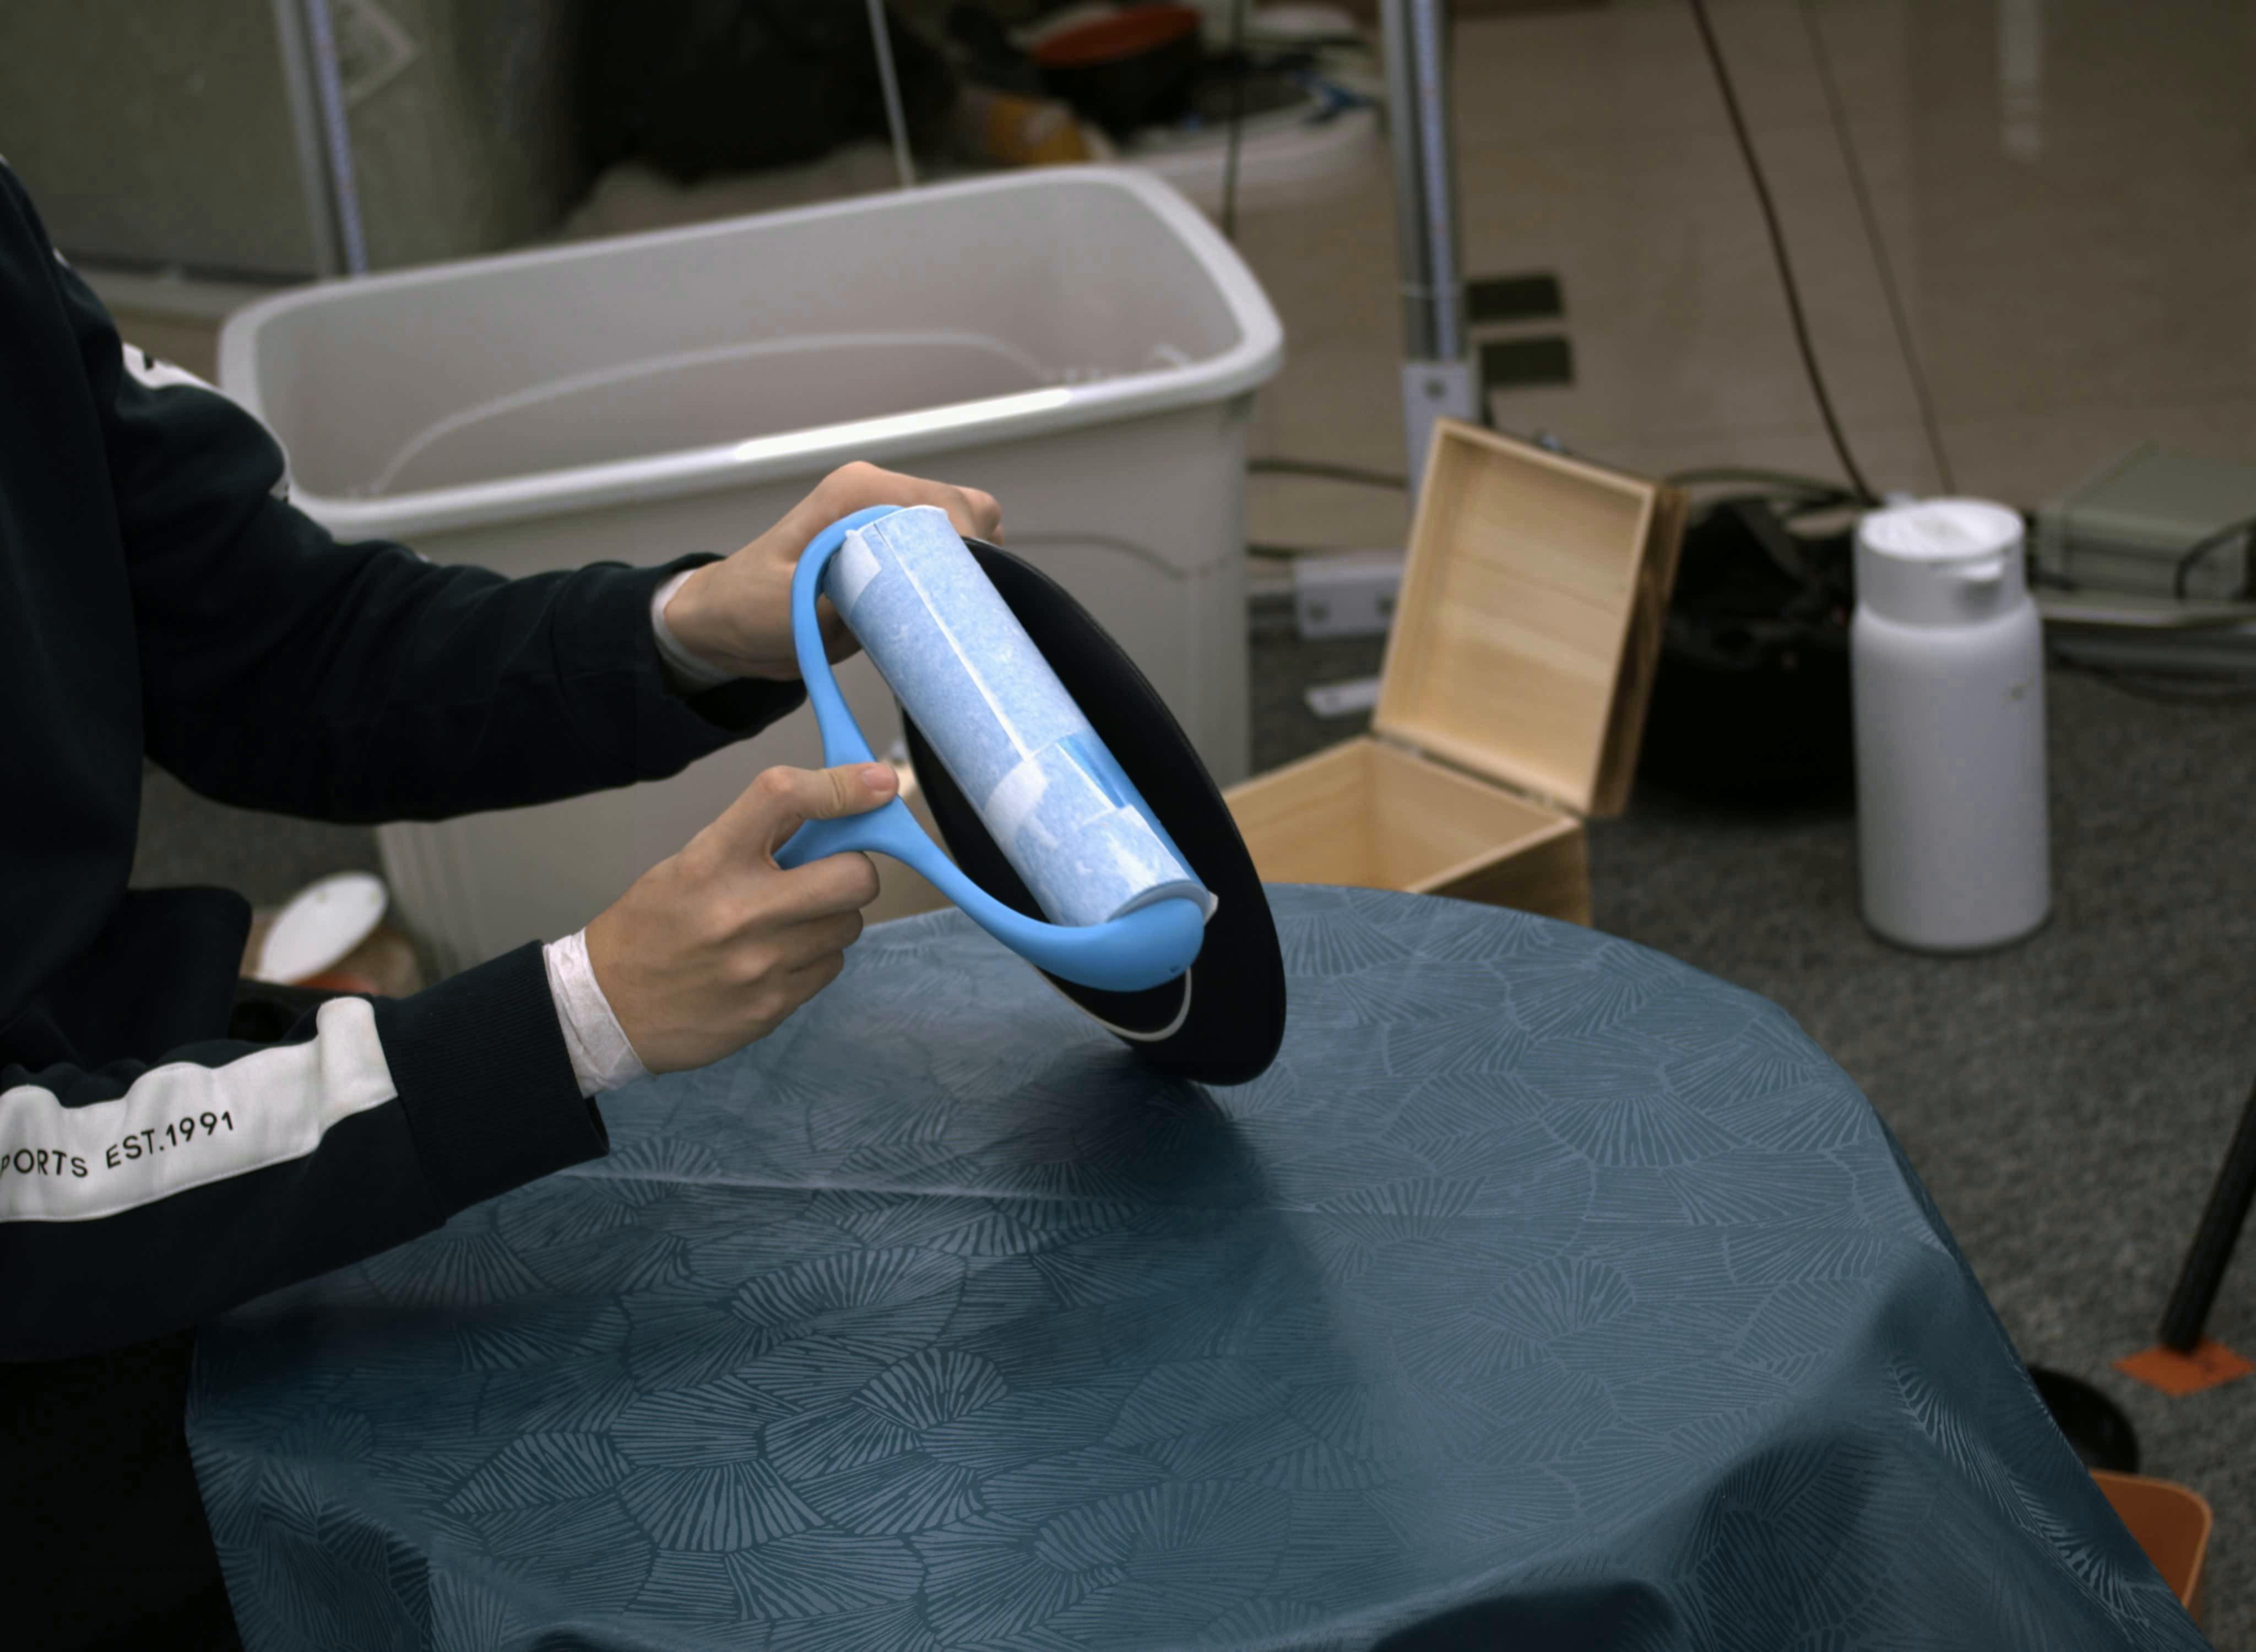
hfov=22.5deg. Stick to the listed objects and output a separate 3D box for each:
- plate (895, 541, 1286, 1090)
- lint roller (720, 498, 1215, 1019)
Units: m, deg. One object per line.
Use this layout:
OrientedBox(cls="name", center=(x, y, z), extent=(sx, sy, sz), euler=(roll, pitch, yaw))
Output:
OrientedBox(cls="plate", center=(-0.026, 0.001, 2.167), extent=(0.023, 0.248, 0.242), euler=(-34, 35, -23))
OrientedBox(cls="lint roller", center=(-0.086, 0.003, 2.063), extent=(0.180, 0.068, 0.226), euler=(-41, 62, 4))
